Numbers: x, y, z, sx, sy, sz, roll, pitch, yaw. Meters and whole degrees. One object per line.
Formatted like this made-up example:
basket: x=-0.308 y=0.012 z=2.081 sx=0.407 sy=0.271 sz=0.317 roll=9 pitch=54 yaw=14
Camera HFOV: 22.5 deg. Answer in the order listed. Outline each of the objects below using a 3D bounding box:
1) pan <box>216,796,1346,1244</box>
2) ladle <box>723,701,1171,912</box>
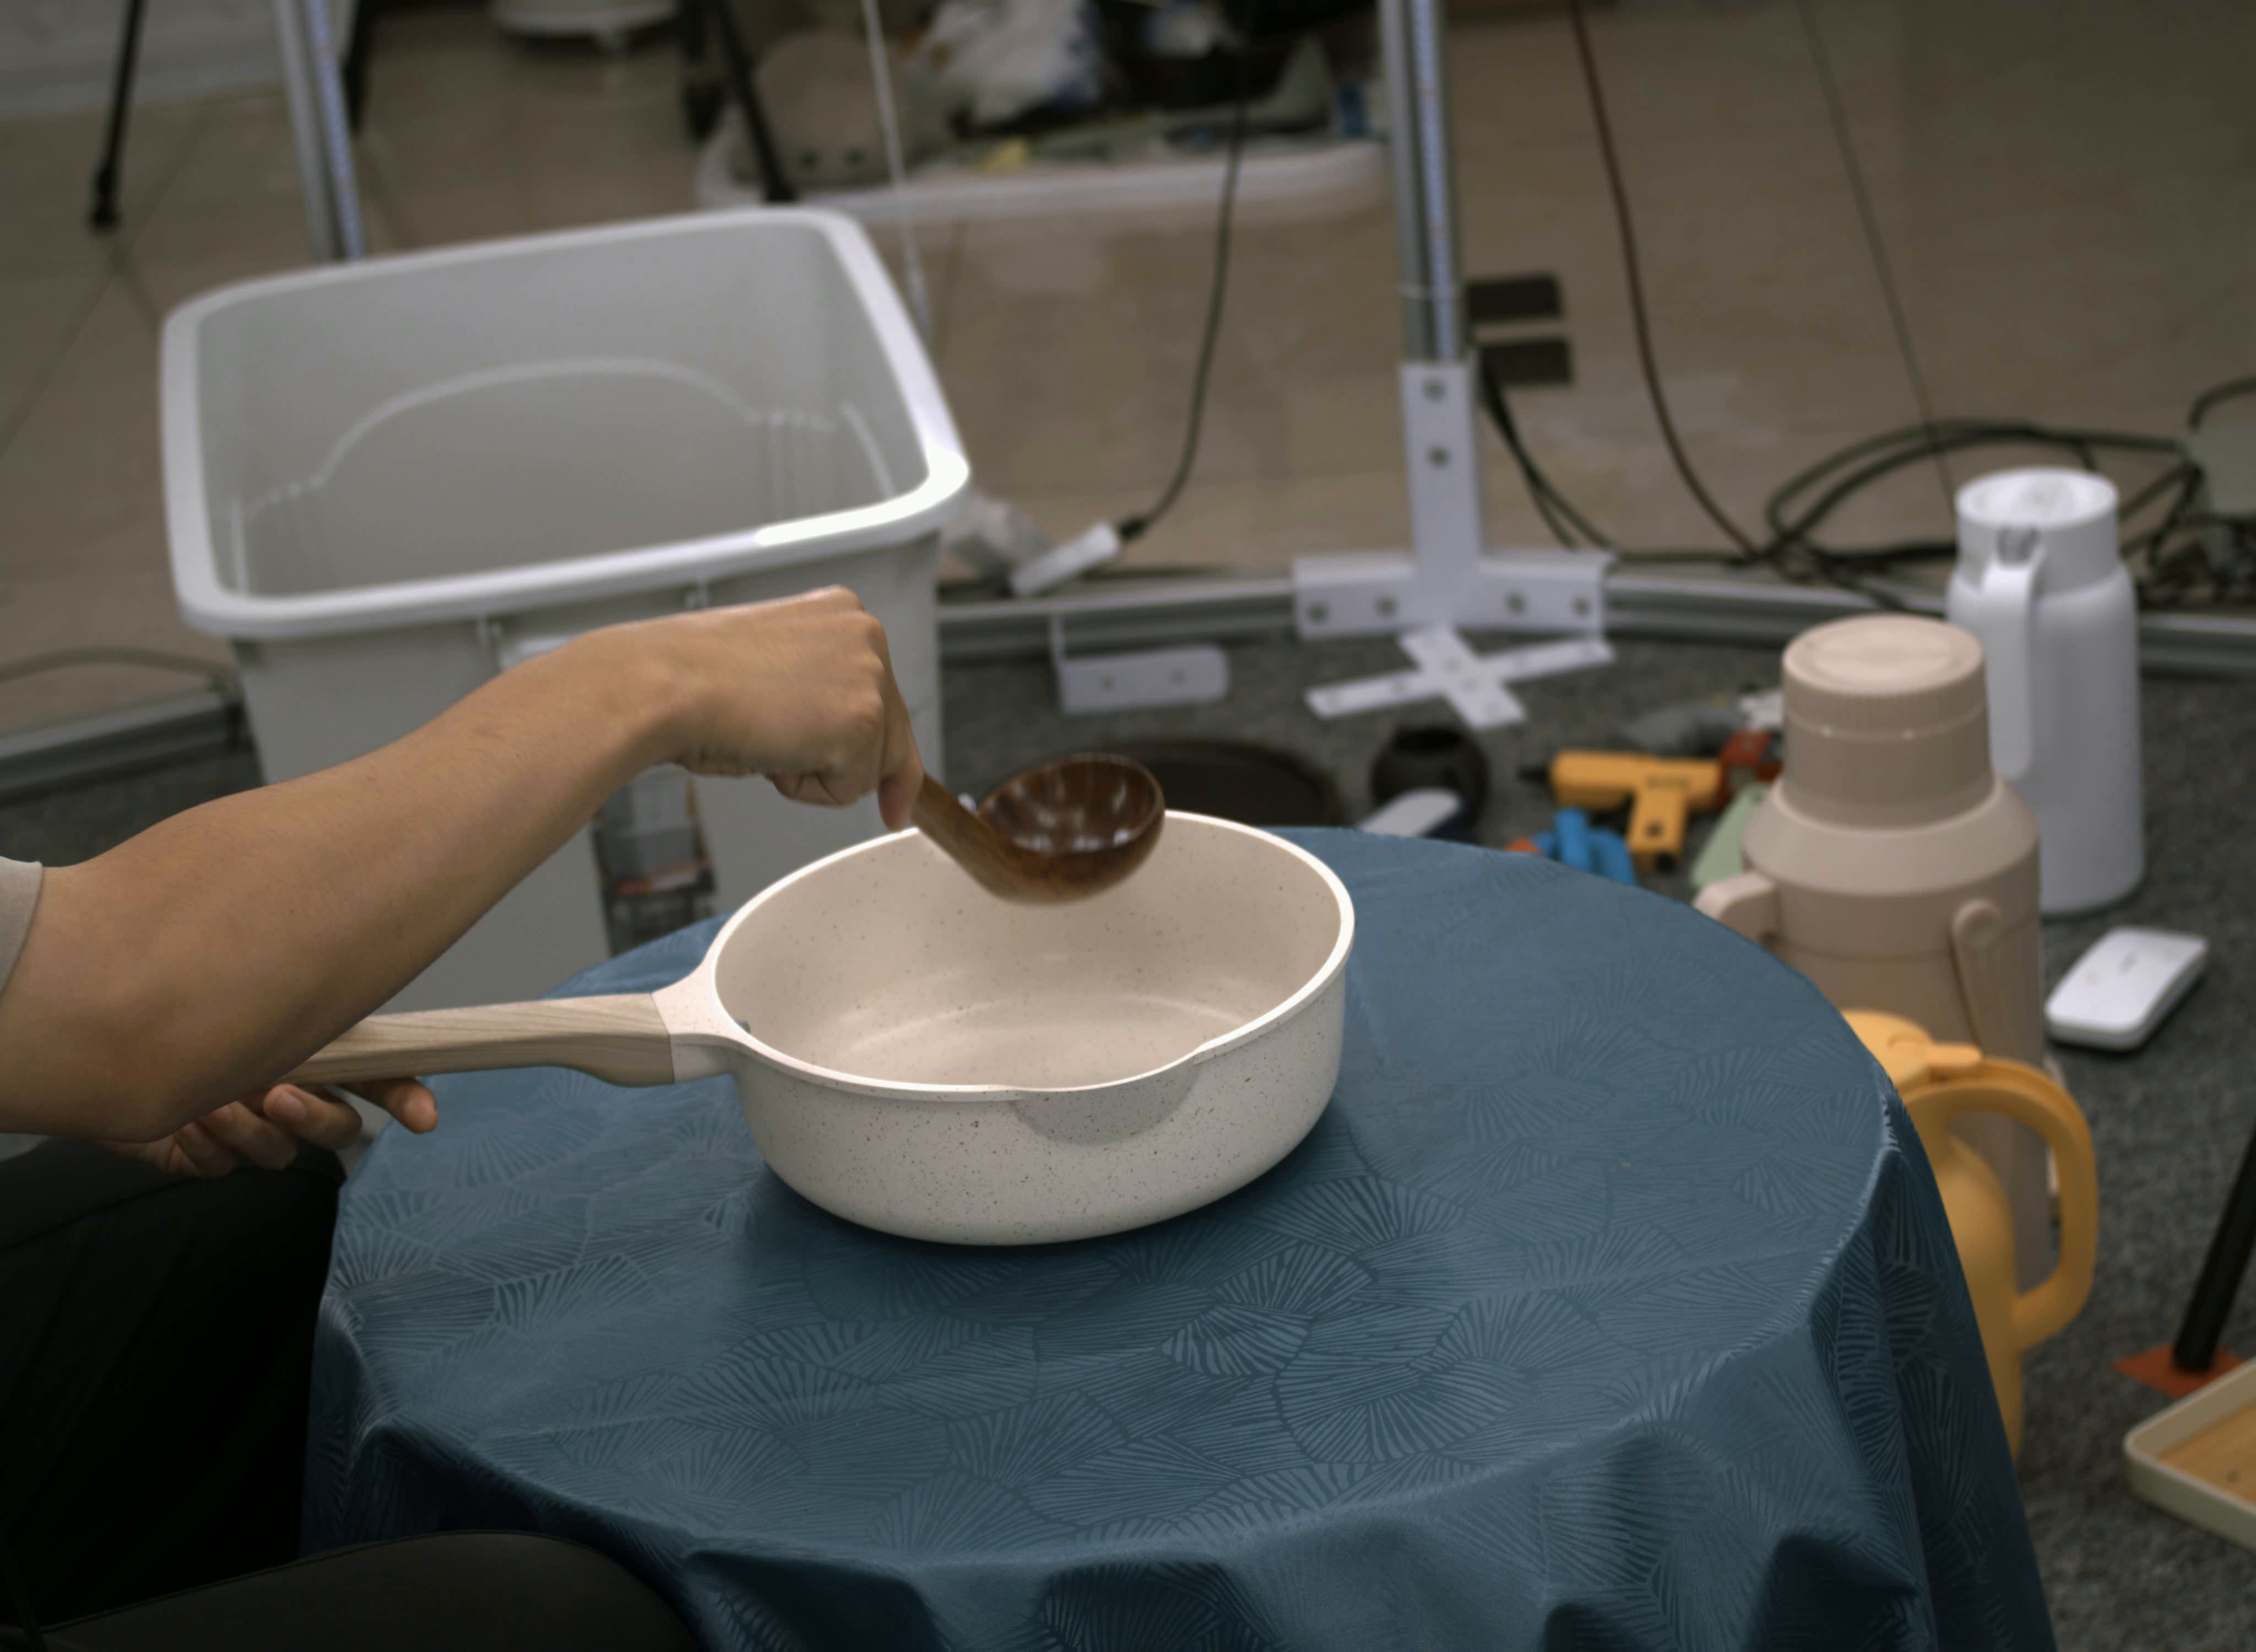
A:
pan: x=-0.126 y=0.089 z=2.170 sx=0.434 sy=0.103 sz=0.259 roll=-12 pitch=27 yaw=-11
ladle: x=-0.068 y=-0.028 z=2.110 sx=0.082 sy=0.076 sz=0.277 roll=-7 pitch=-21 yaw=25
